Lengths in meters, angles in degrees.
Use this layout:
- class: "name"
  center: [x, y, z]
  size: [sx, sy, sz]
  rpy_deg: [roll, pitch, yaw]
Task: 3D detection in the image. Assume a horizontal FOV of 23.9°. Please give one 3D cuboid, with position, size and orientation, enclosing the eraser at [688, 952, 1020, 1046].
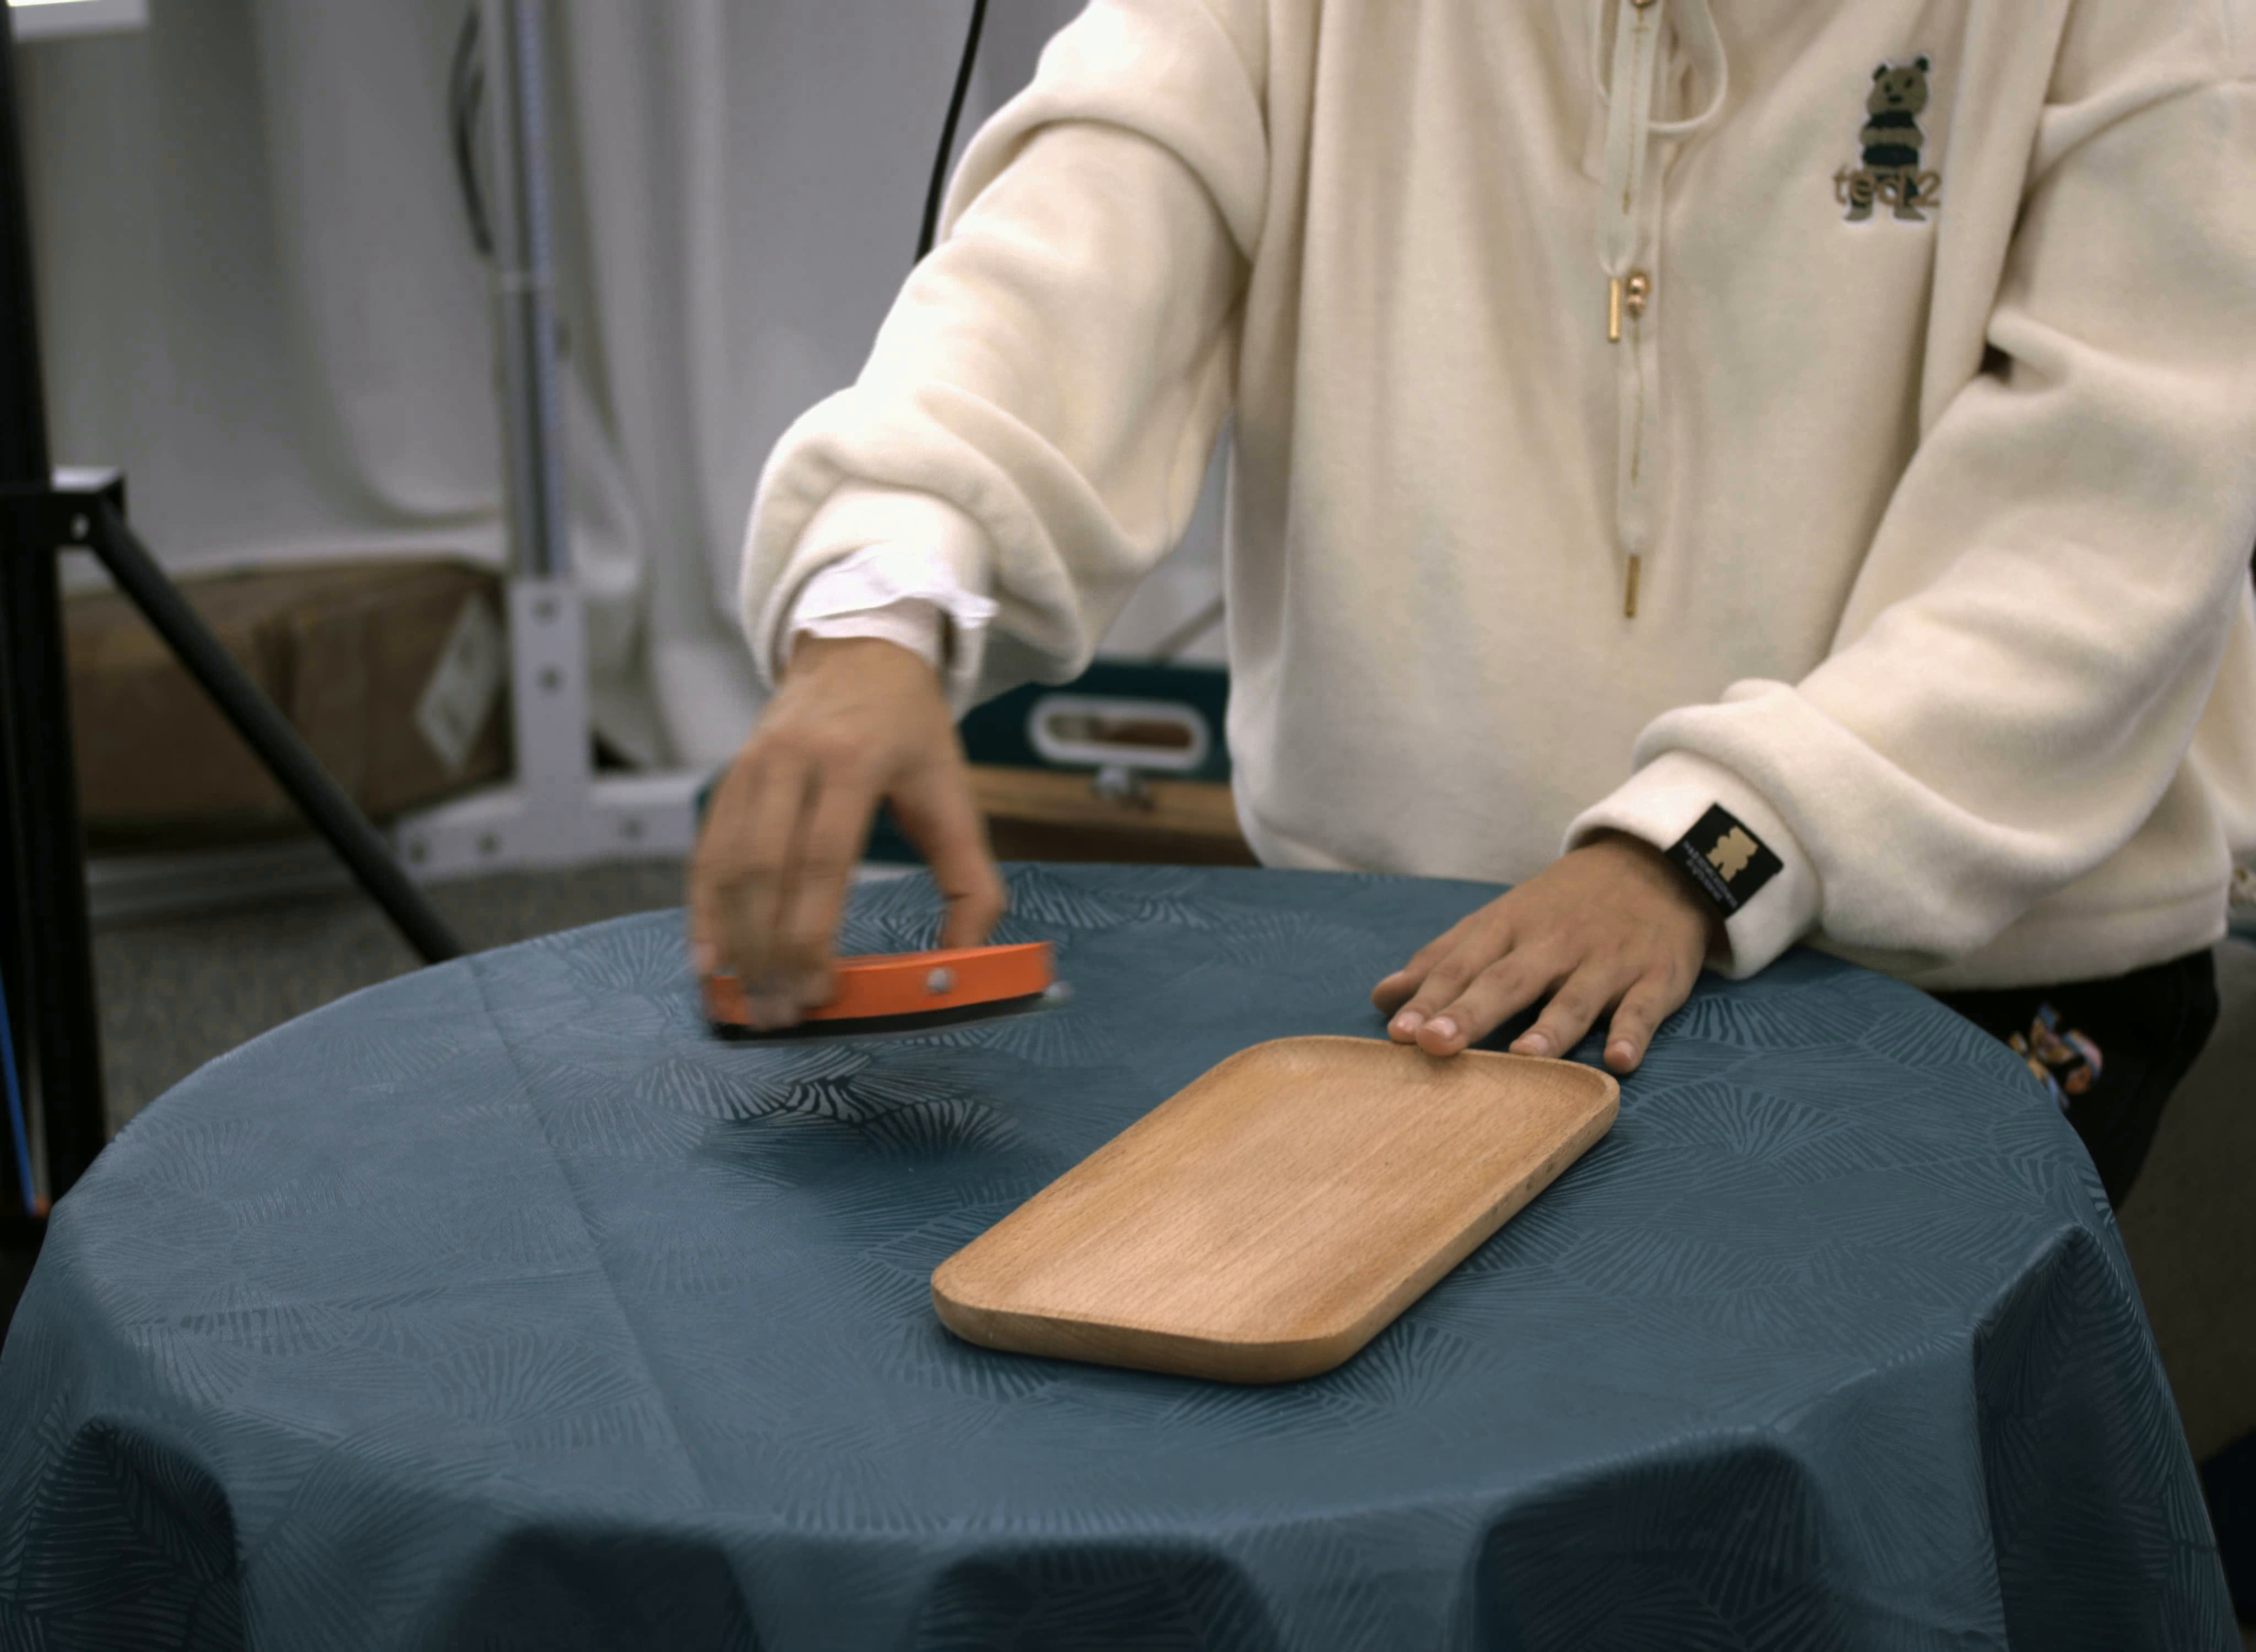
- class: "eraser"
  center: [-0.084, 0.053, 1.627]
  size: [0.057, 0.023, 0.110]
  rpy_deg: [-7, 2, -37]

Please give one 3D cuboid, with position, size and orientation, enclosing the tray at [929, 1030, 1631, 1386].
- class: "tray"
  center: [0.048, 0.107, 1.521]
  size: [0.133, 0.023, 0.246]
  rpy_deg: [8, 19, 26]
